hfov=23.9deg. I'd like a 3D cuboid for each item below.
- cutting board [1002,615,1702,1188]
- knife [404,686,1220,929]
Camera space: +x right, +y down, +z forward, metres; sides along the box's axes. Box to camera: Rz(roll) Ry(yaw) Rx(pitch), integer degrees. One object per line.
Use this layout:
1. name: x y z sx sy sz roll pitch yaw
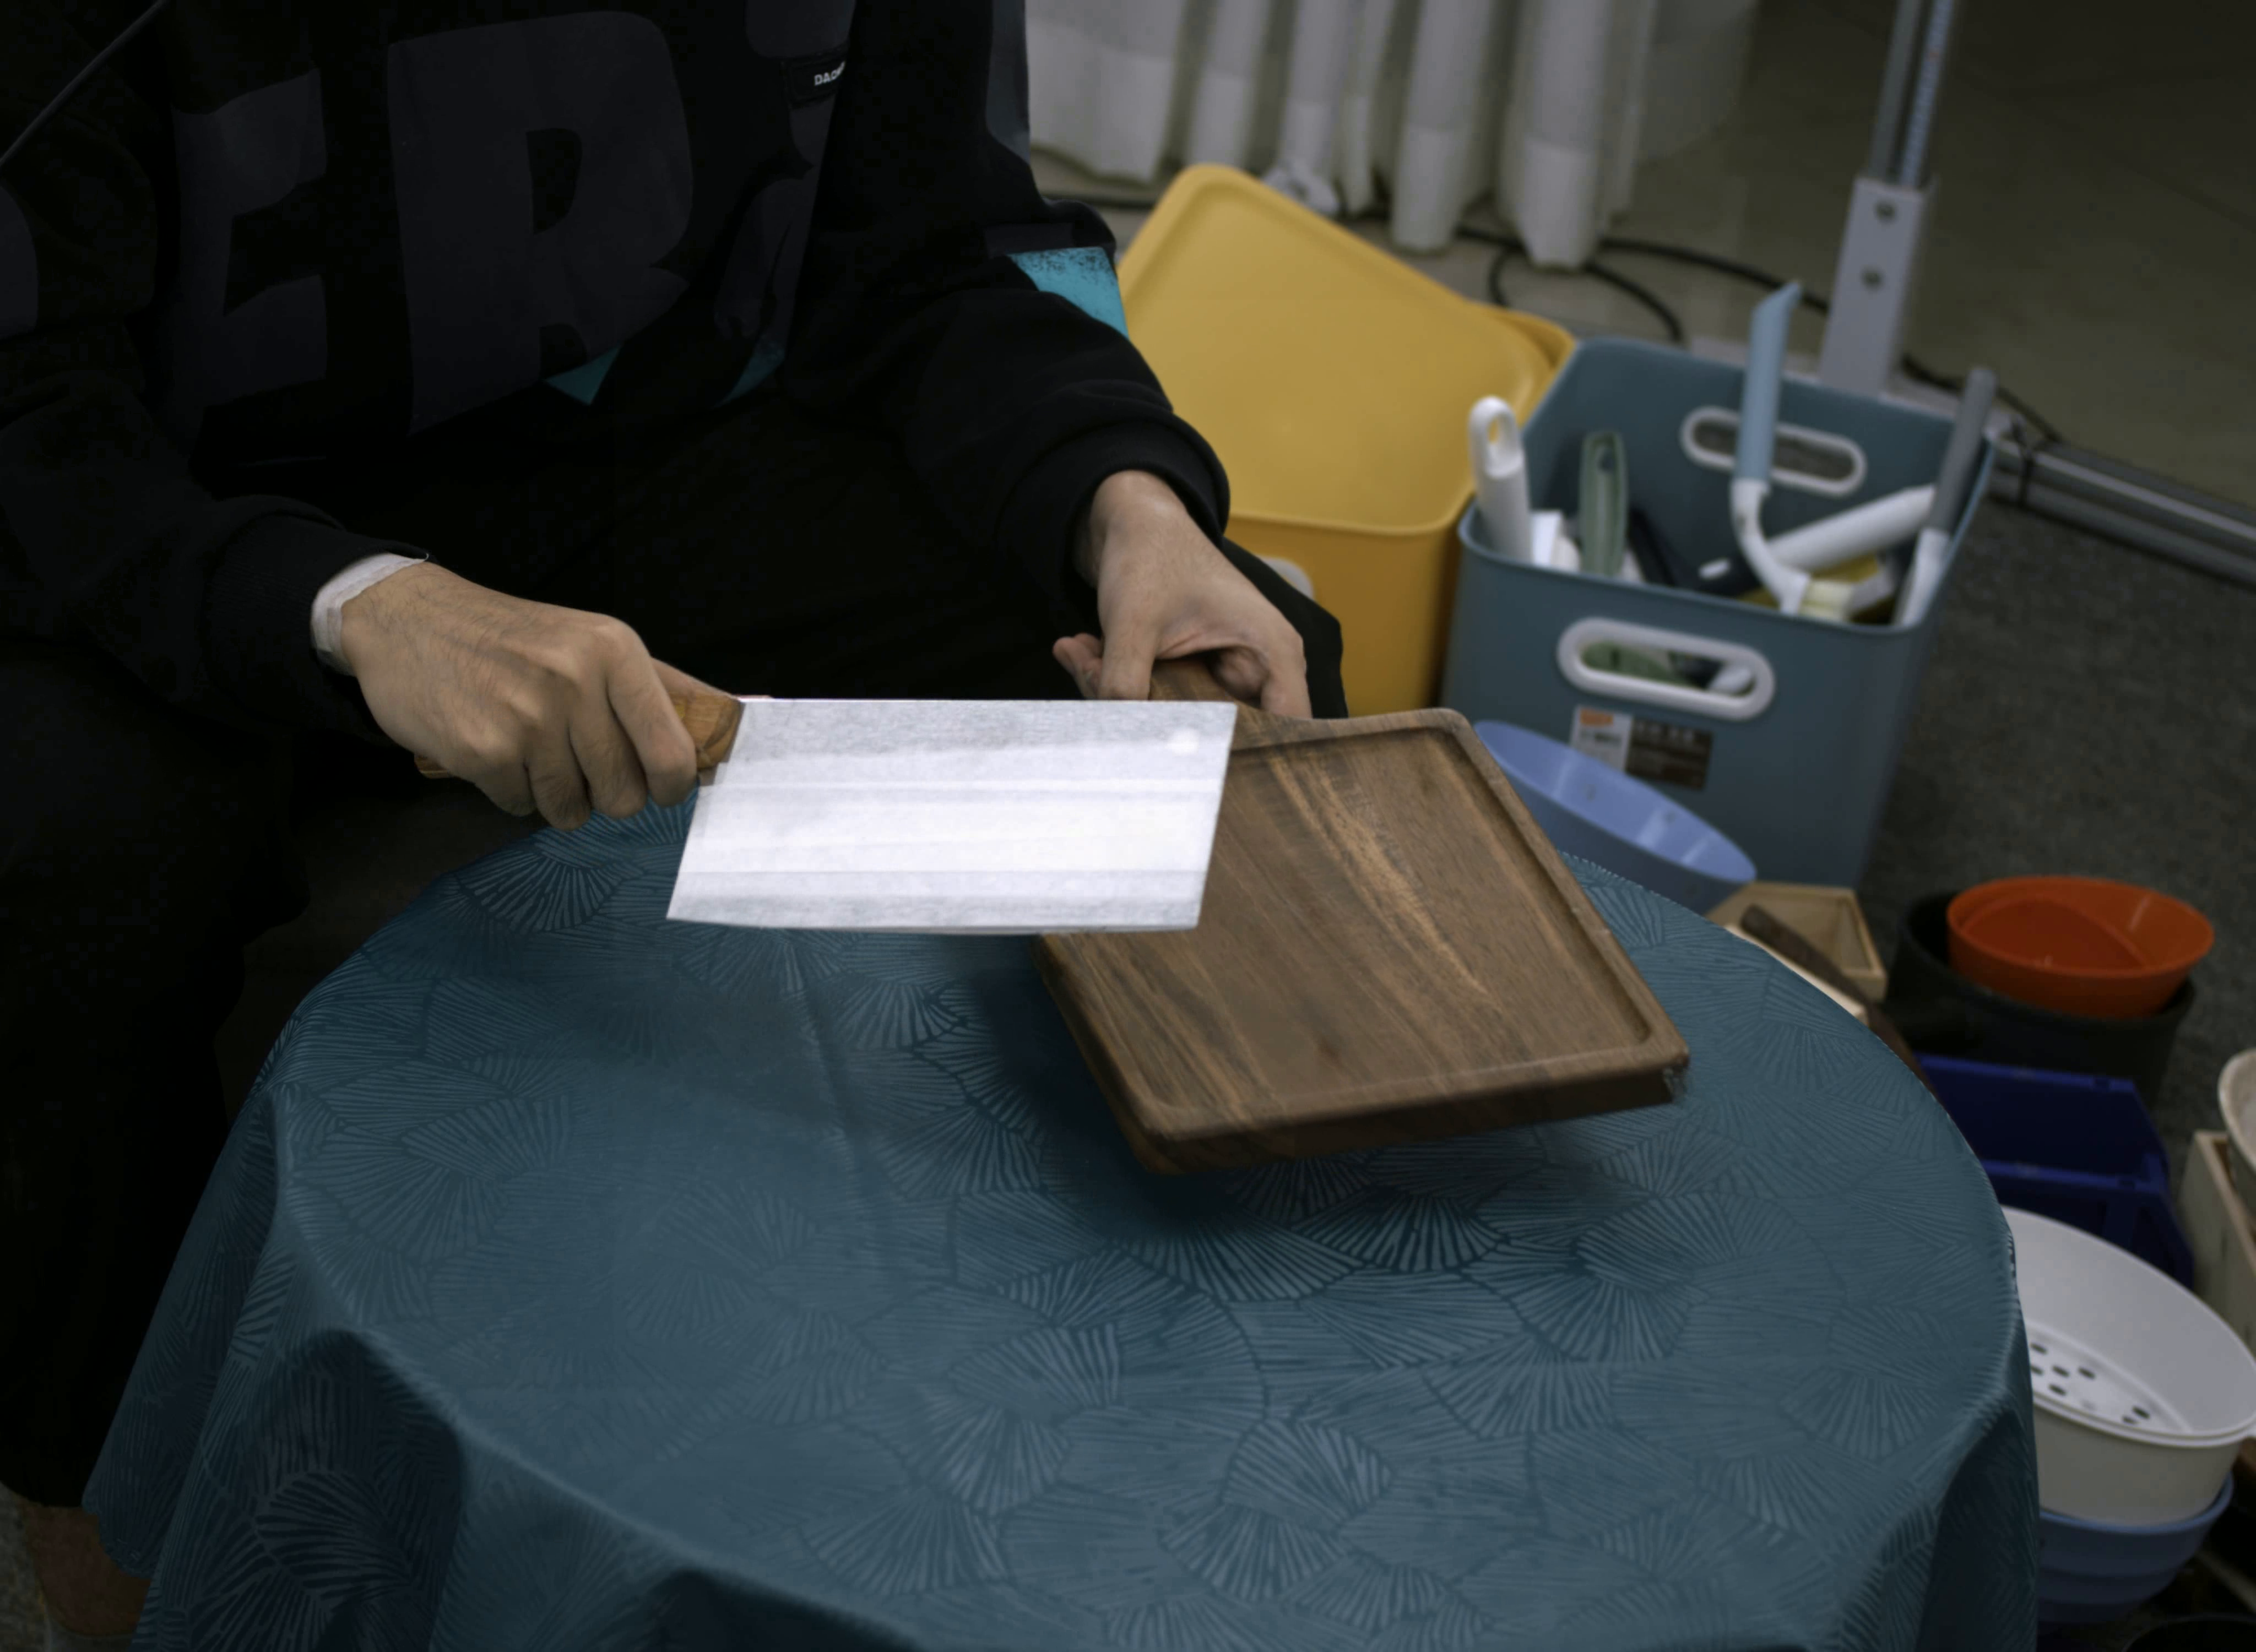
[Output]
1. cutting board: 0.051 0.014 1.921 0.200 0.023 0.355 -7 32 -15
2. knife: -0.115 -0.006 1.827 0.306 0.021 0.093 0 60 19
